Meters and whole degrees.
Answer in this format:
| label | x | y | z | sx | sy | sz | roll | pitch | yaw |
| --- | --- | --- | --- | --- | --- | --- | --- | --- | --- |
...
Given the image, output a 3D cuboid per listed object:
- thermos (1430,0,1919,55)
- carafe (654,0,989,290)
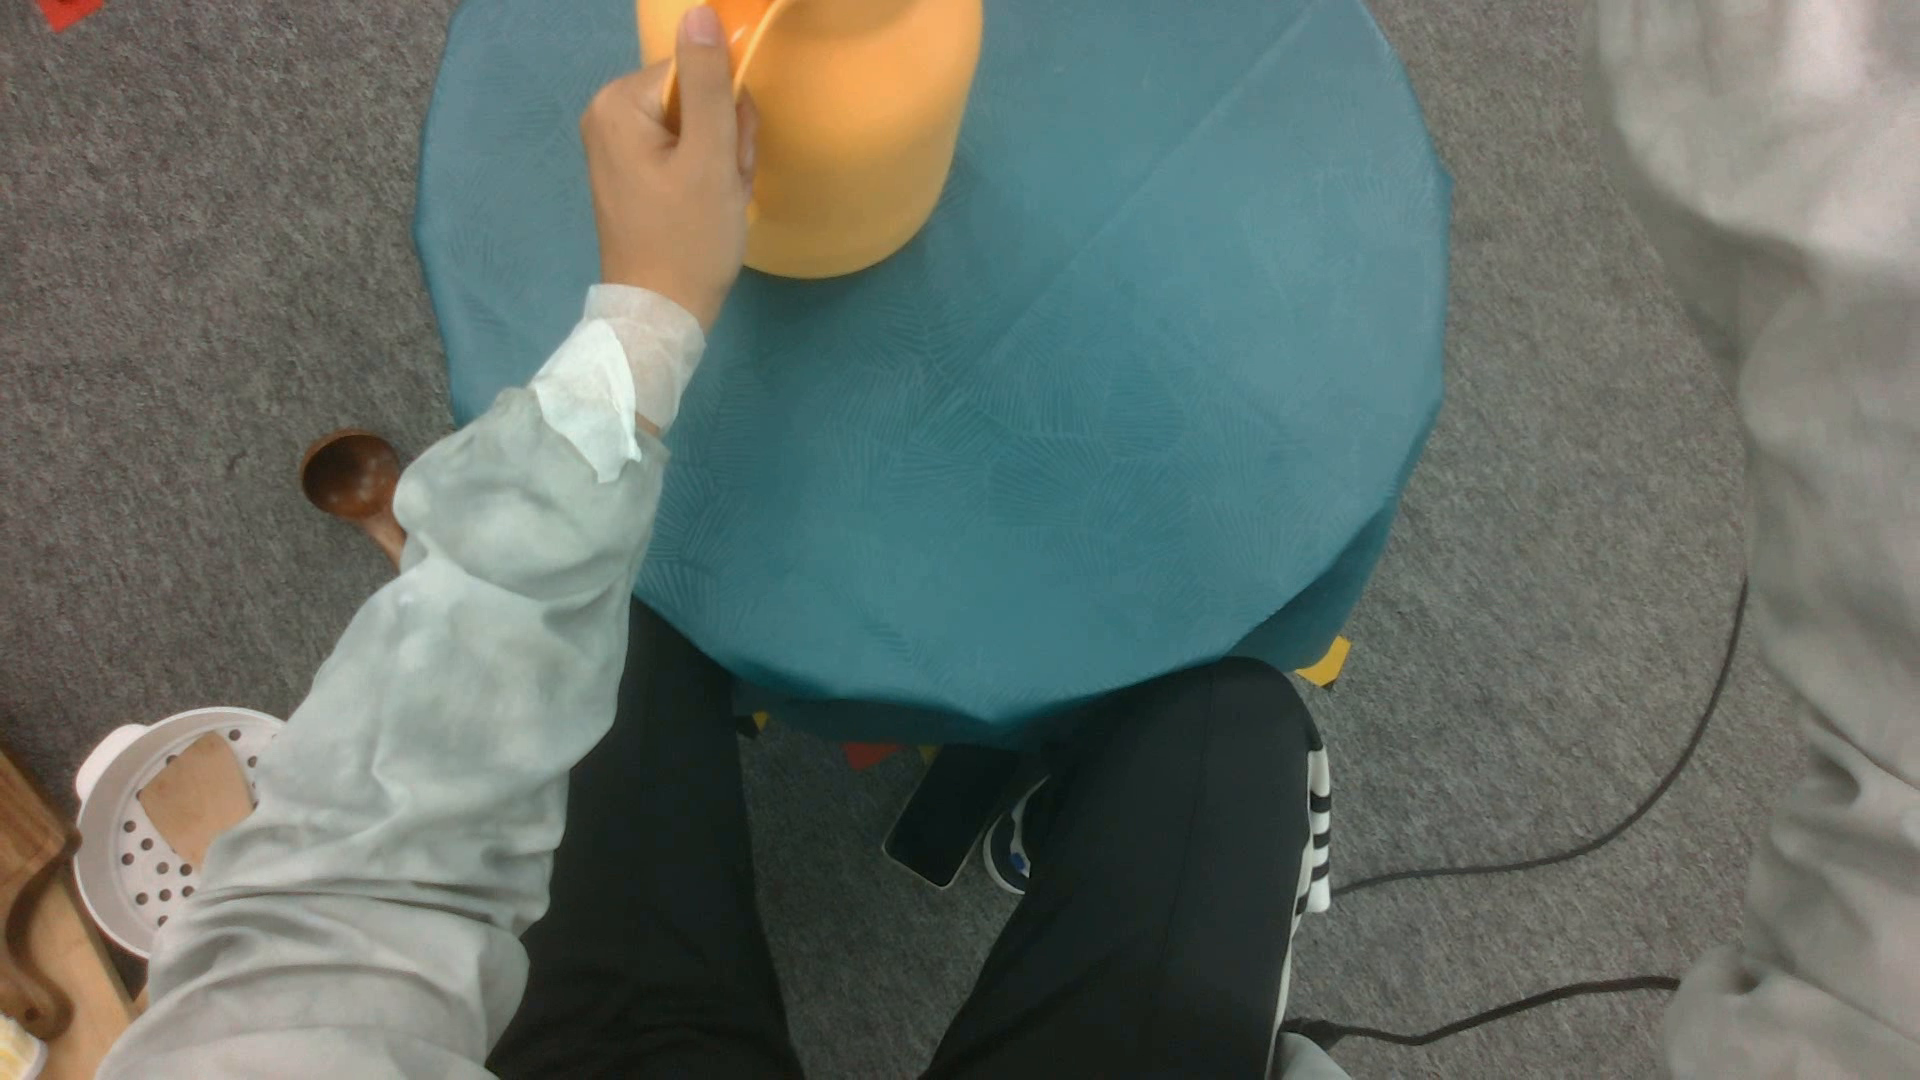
| label | x | y | z | sx | sy | sz | roll | pitch | yaw |
| --- | --- | --- | --- | --- | --- | --- | --- | --- | --- |
| thermos | 0.170 | -0.250 | 0.411 | 0.406 | 0.207 | 0.175 | 11 | 98 | 4 |
| carafe | -0.078 | -0.225 | 0.669 | 0.163 | 0.259 | 0.203 | 28 | 72 | 1 |
